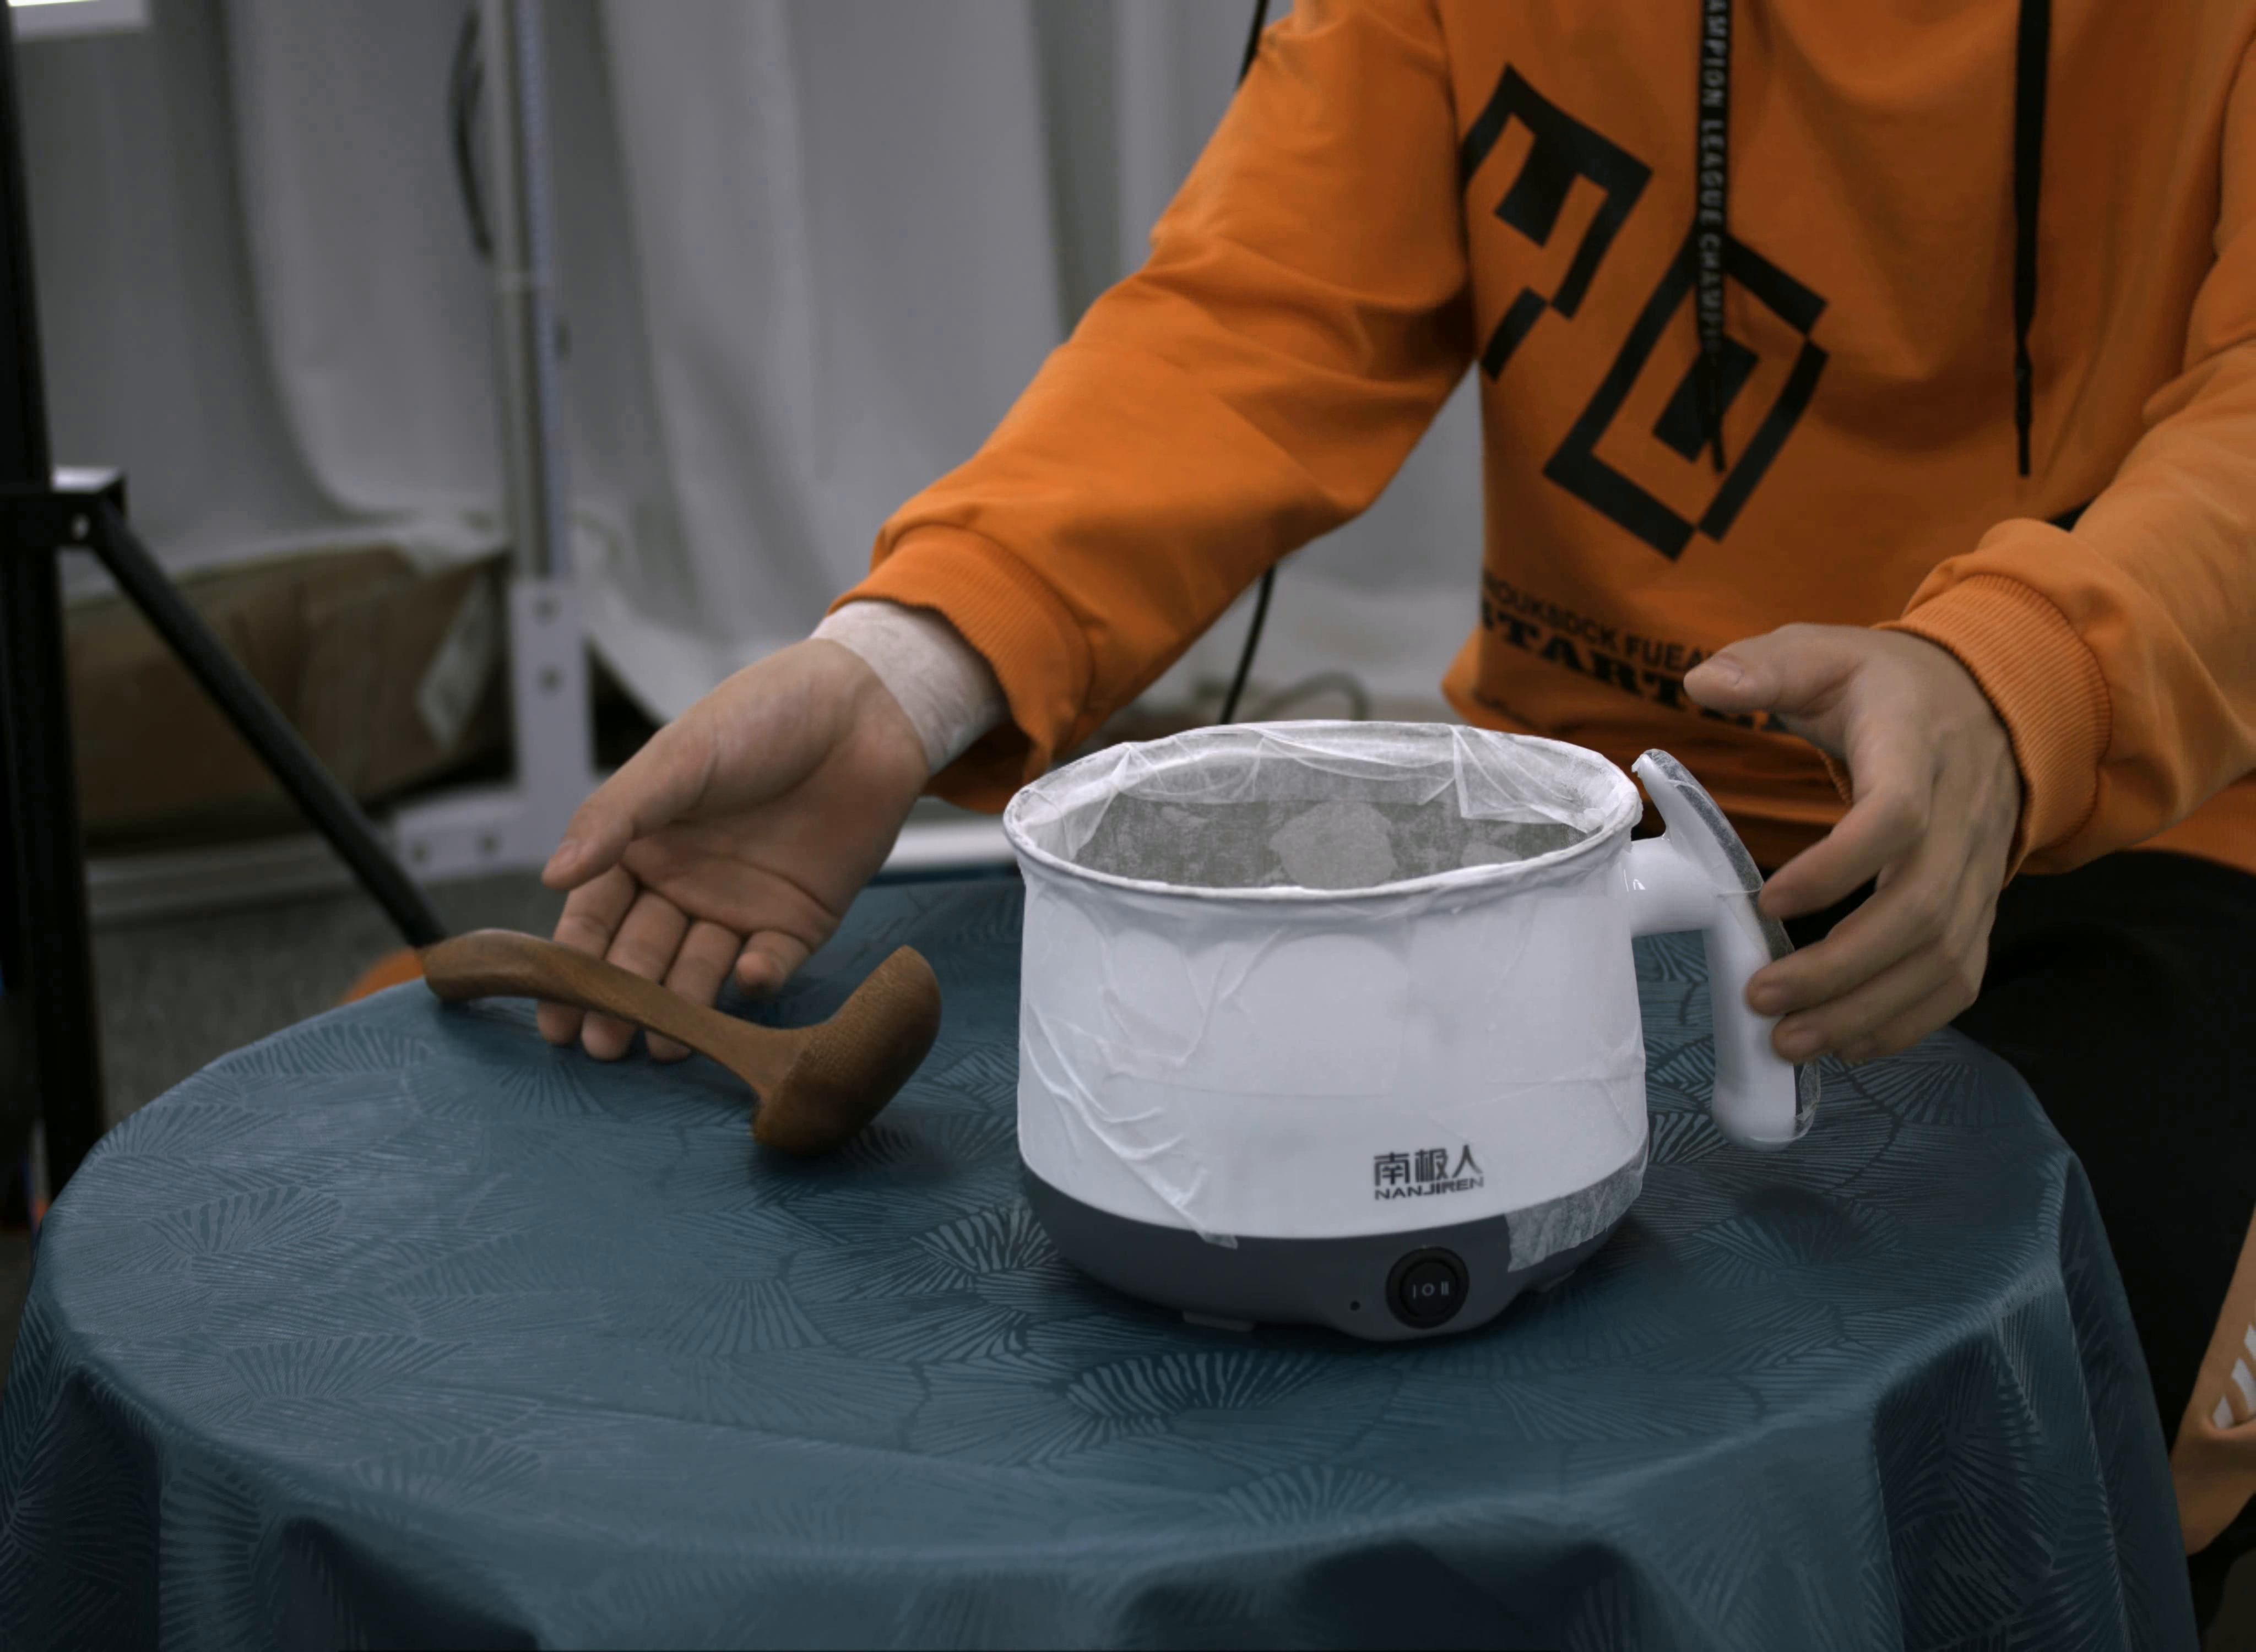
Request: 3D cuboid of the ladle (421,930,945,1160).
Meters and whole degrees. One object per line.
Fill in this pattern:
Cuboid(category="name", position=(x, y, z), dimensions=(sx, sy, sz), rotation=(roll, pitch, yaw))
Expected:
Cuboid(category="ladle", position=(-0.151, 0.052, 1.672), dimensions=(0.076, 0.064, 0.266), rotation=(-42, 36, -27))

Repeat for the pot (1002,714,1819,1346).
Cuboid(category="pot", position=(0.082, 0.051, 1.492), dimensions=(0.230, 0.136, 0.181), rotation=(-7, 17, -14))
